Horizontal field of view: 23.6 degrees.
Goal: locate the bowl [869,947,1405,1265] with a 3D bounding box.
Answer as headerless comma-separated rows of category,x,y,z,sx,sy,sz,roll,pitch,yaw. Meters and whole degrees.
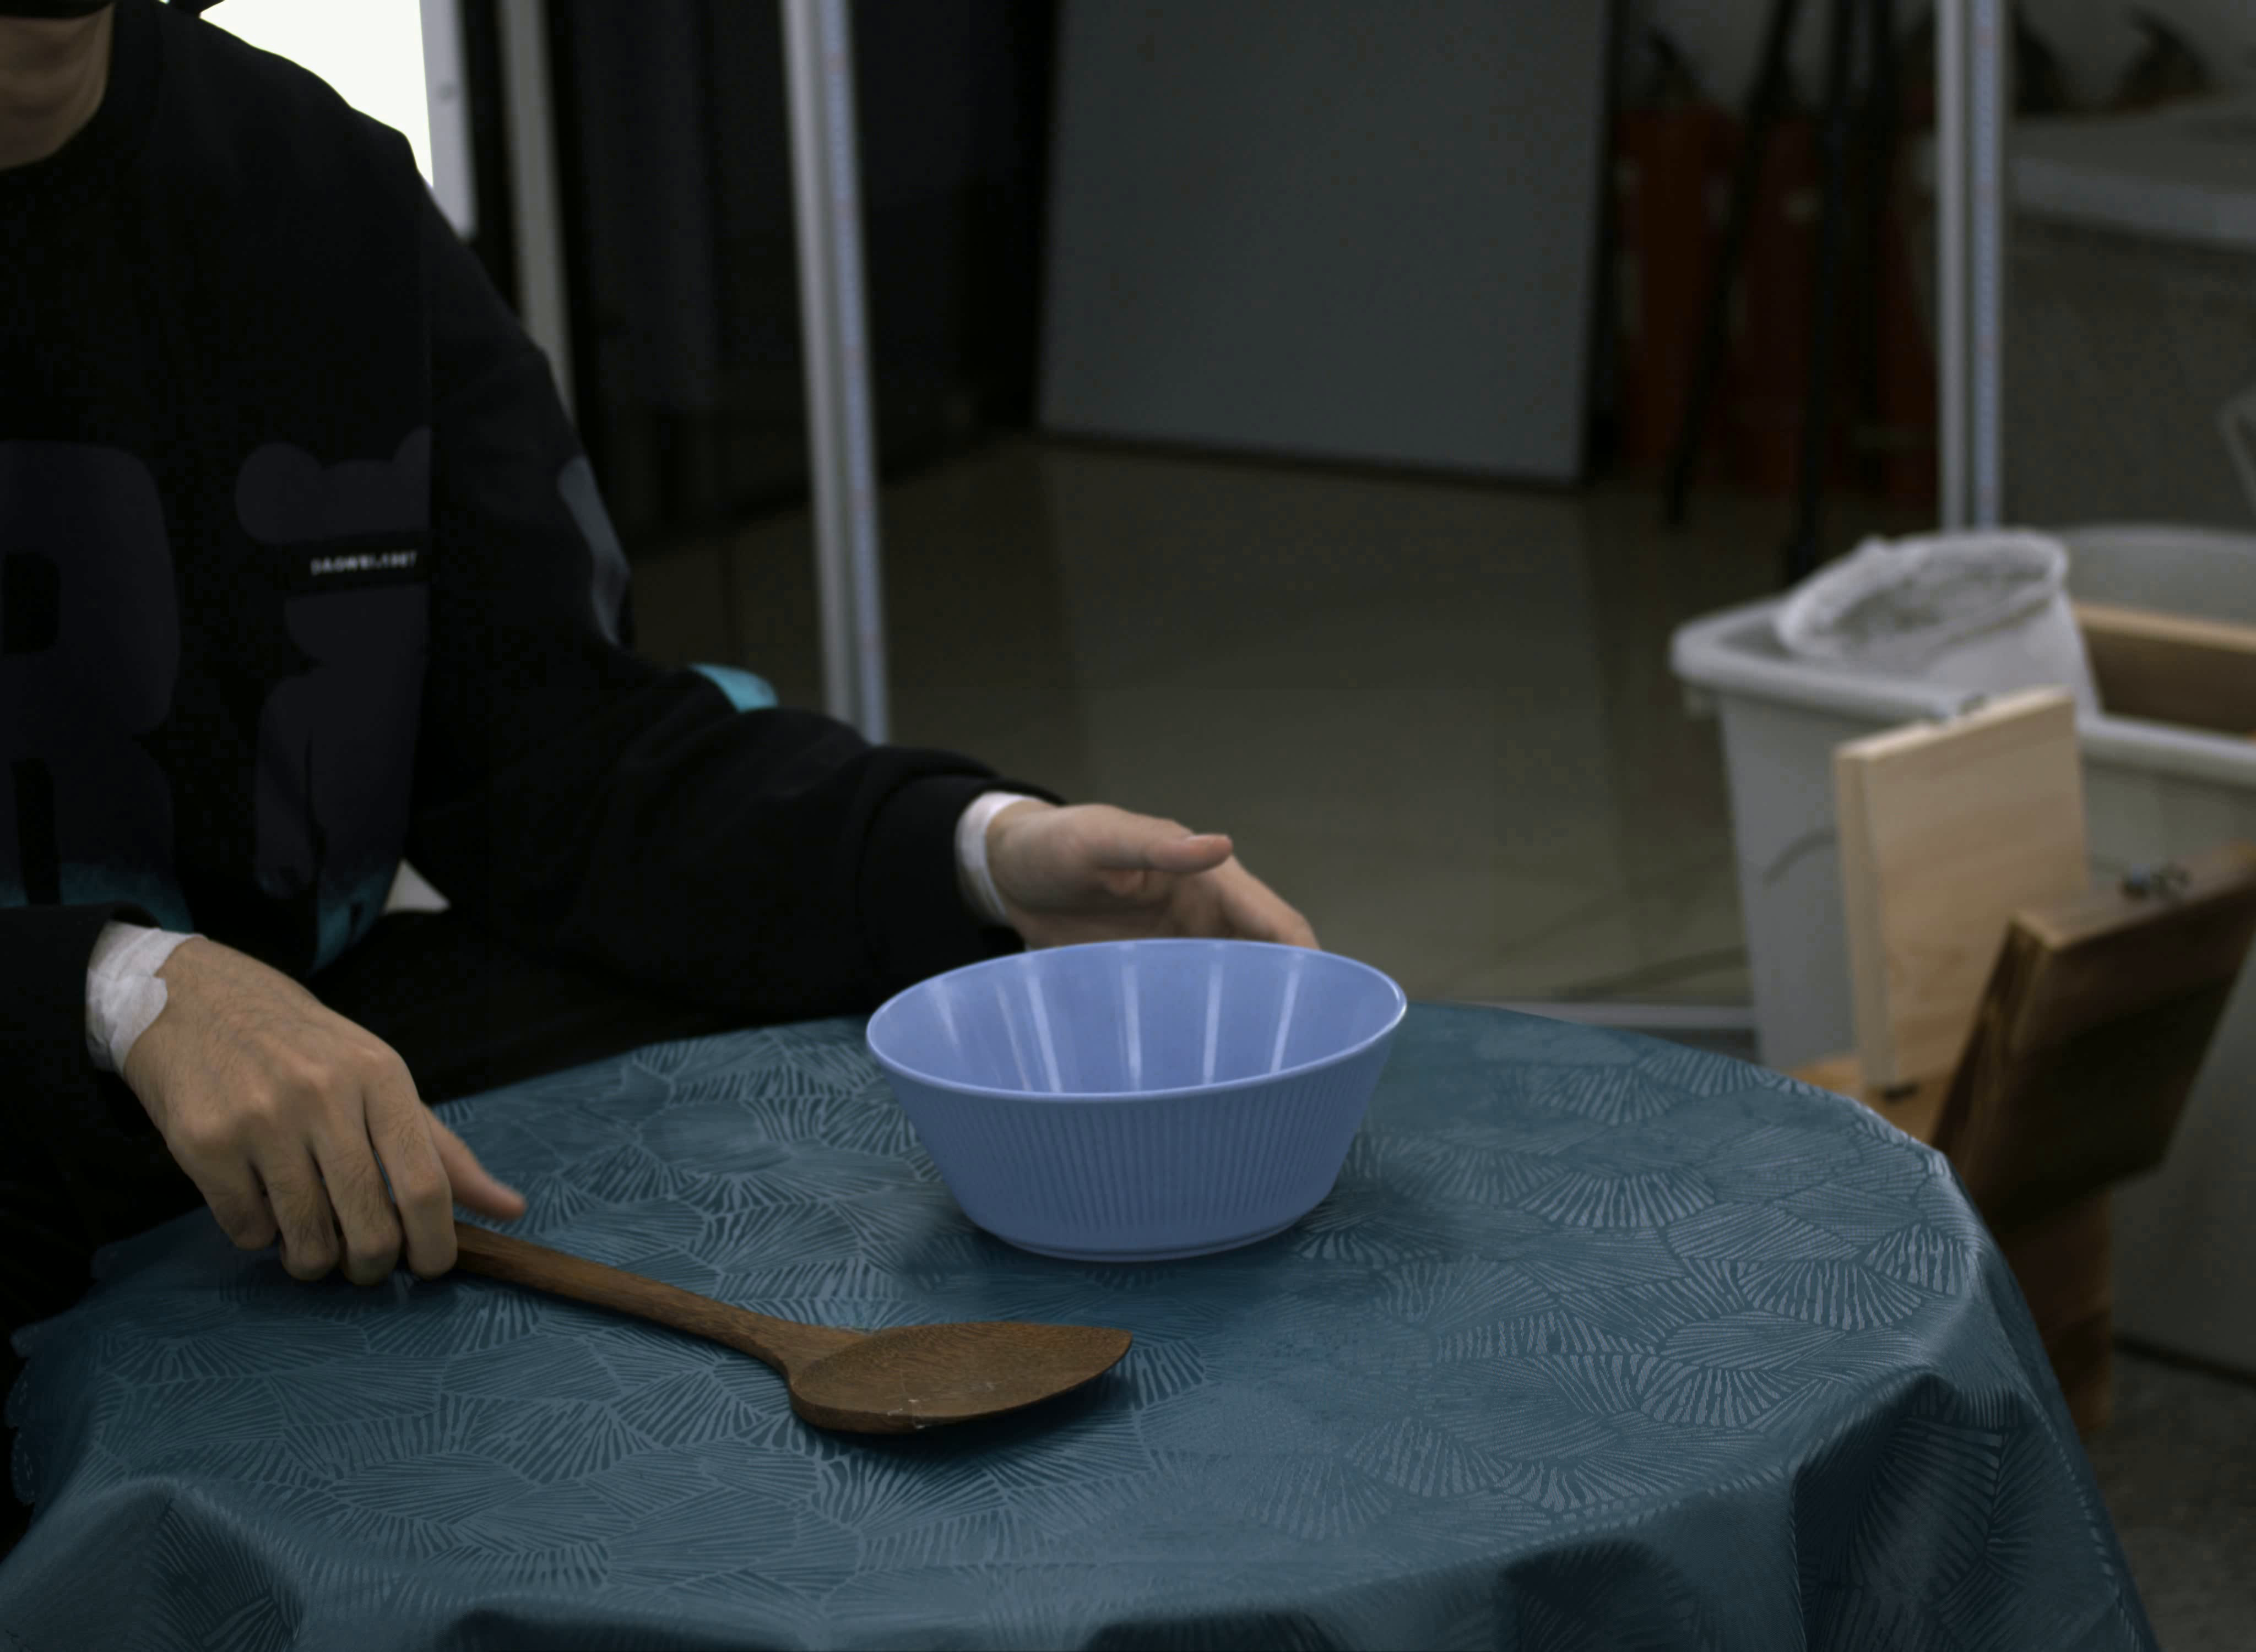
bowl,0.005,0.092,1.741,0.174,0.071,0.176,-5,12,0

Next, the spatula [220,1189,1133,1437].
spatula,-0.159,0.147,1.687,0.389,0.016,0.094,9,18,43
